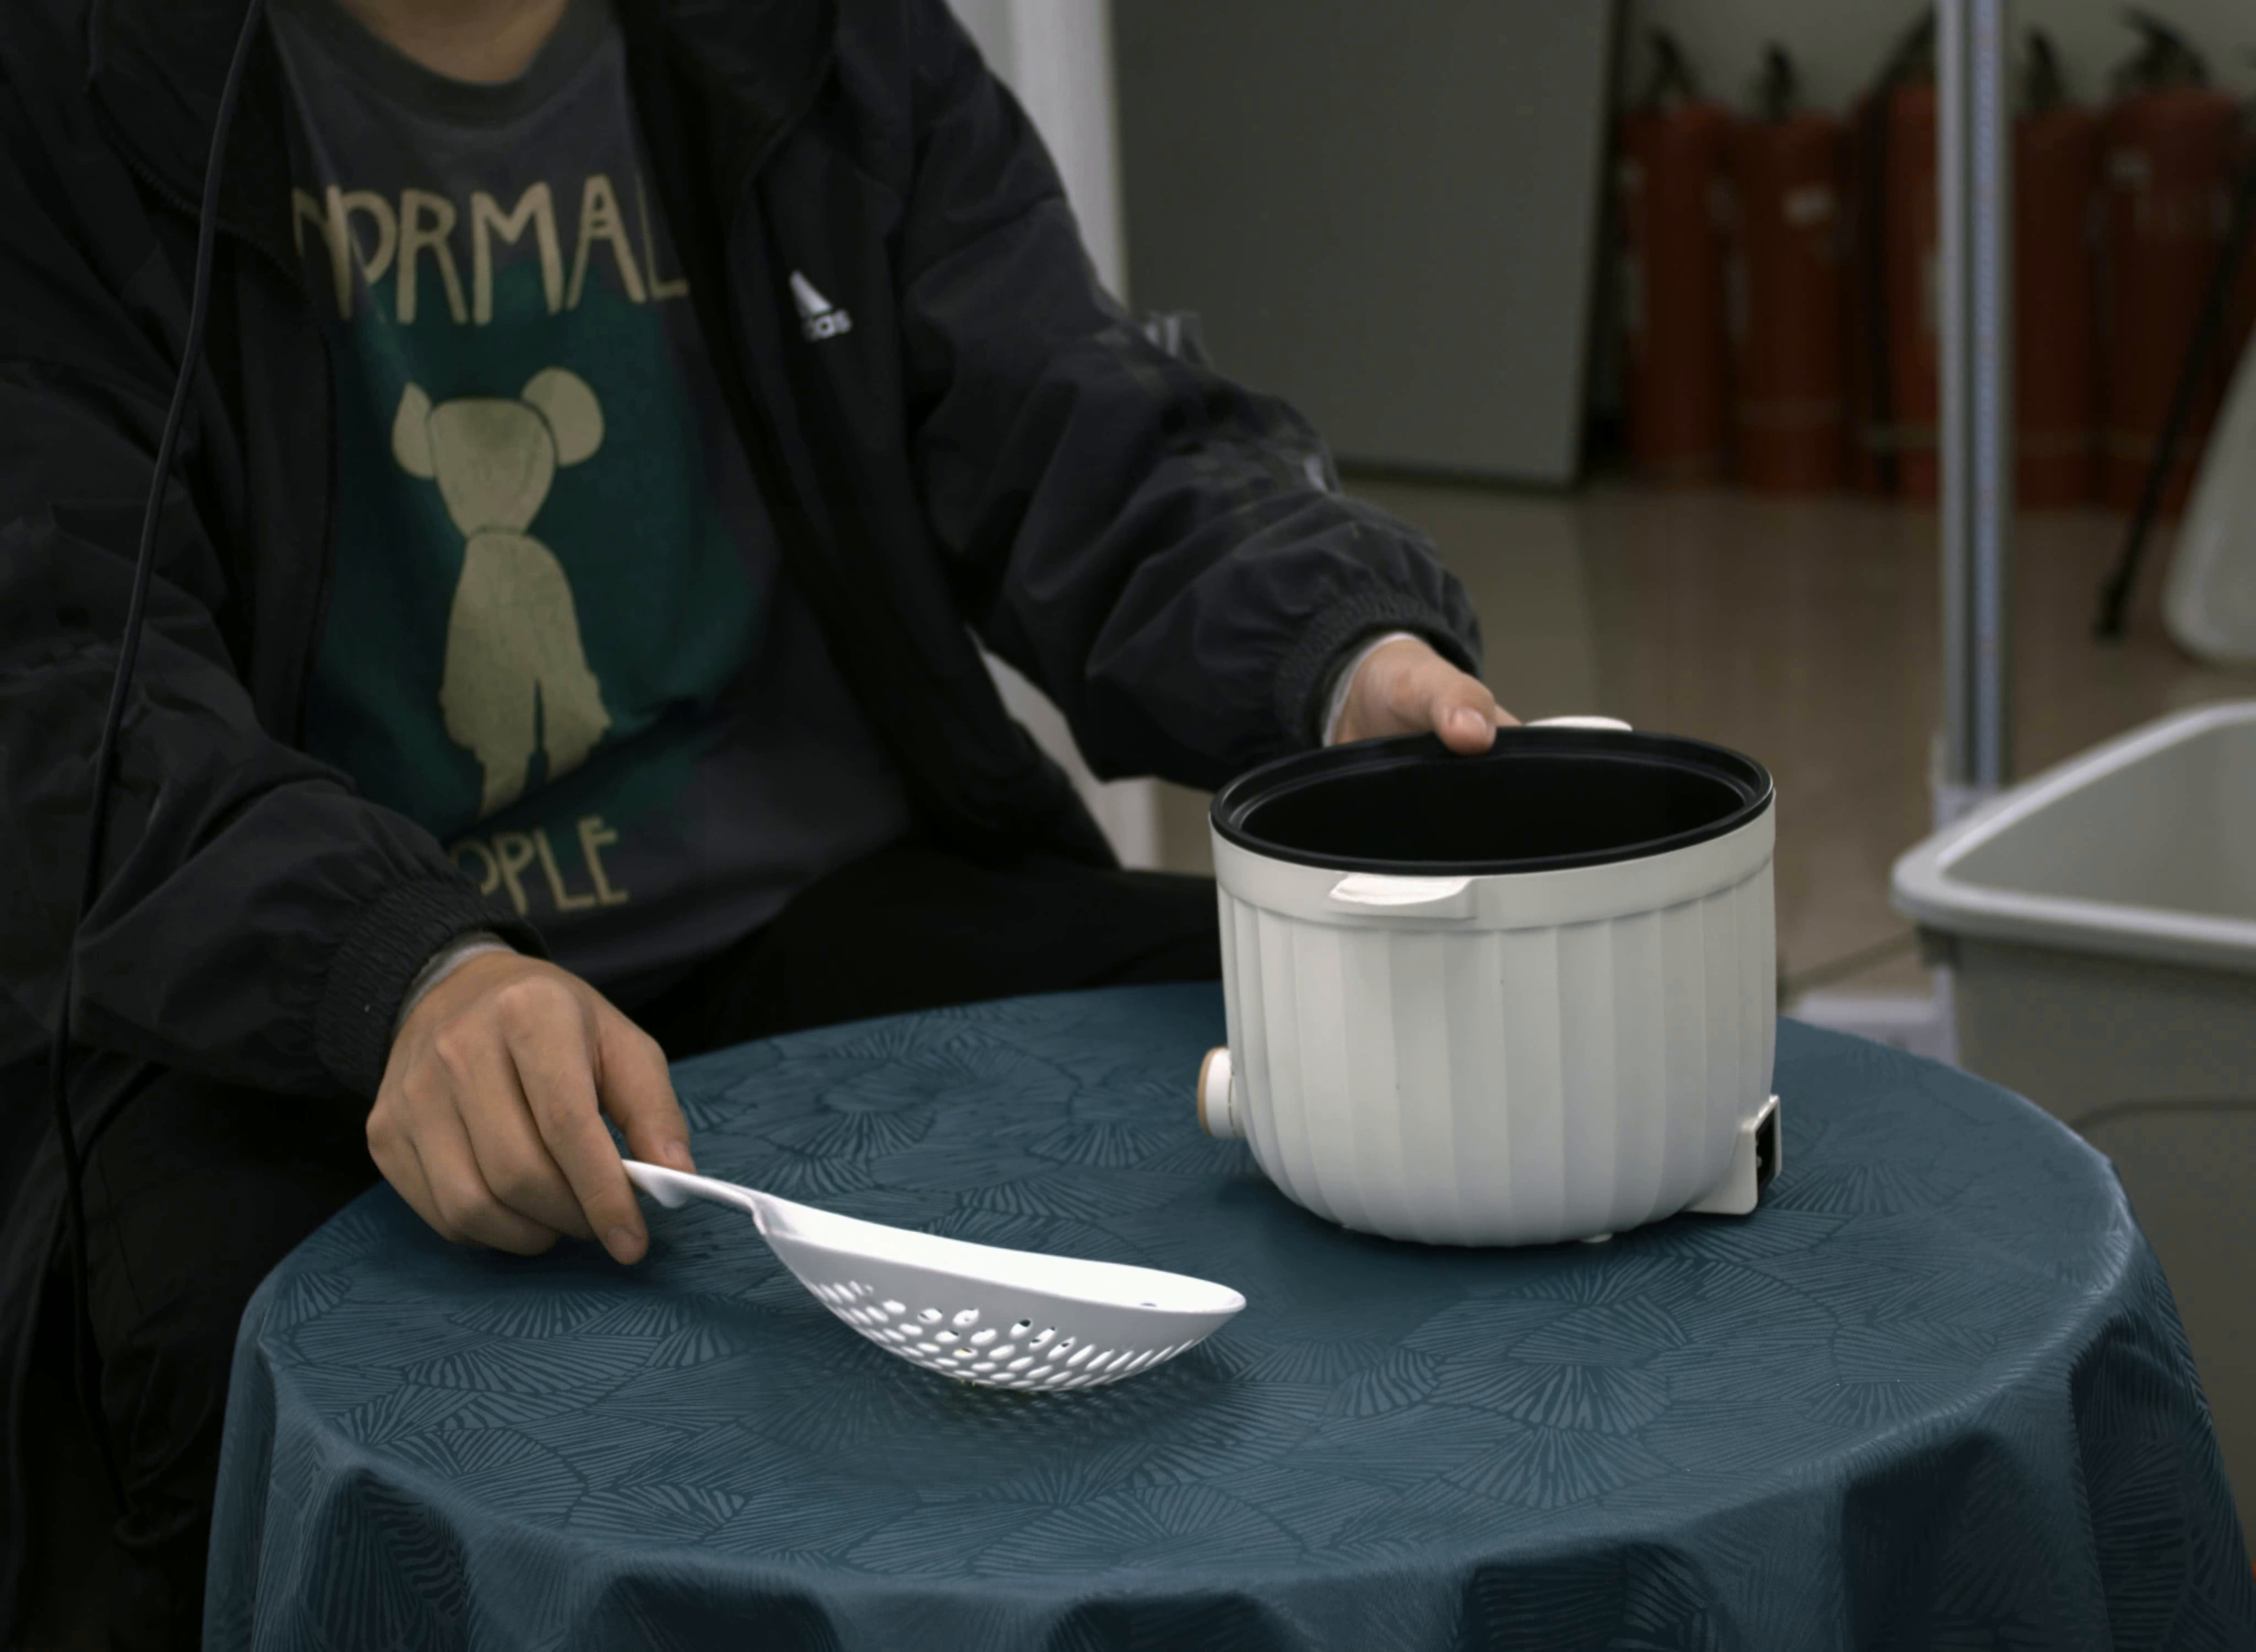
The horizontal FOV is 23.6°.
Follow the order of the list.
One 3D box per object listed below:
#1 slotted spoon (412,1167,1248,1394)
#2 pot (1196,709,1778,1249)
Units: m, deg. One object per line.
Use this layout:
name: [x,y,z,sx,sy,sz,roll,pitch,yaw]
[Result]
slotted spoon: [-0.108,0.129,1.667,0.134,0.051,0.351,6,5,-42]
pot: [0.114,0.052,1.729,0.190,0.144,0.238,4,14,20]
